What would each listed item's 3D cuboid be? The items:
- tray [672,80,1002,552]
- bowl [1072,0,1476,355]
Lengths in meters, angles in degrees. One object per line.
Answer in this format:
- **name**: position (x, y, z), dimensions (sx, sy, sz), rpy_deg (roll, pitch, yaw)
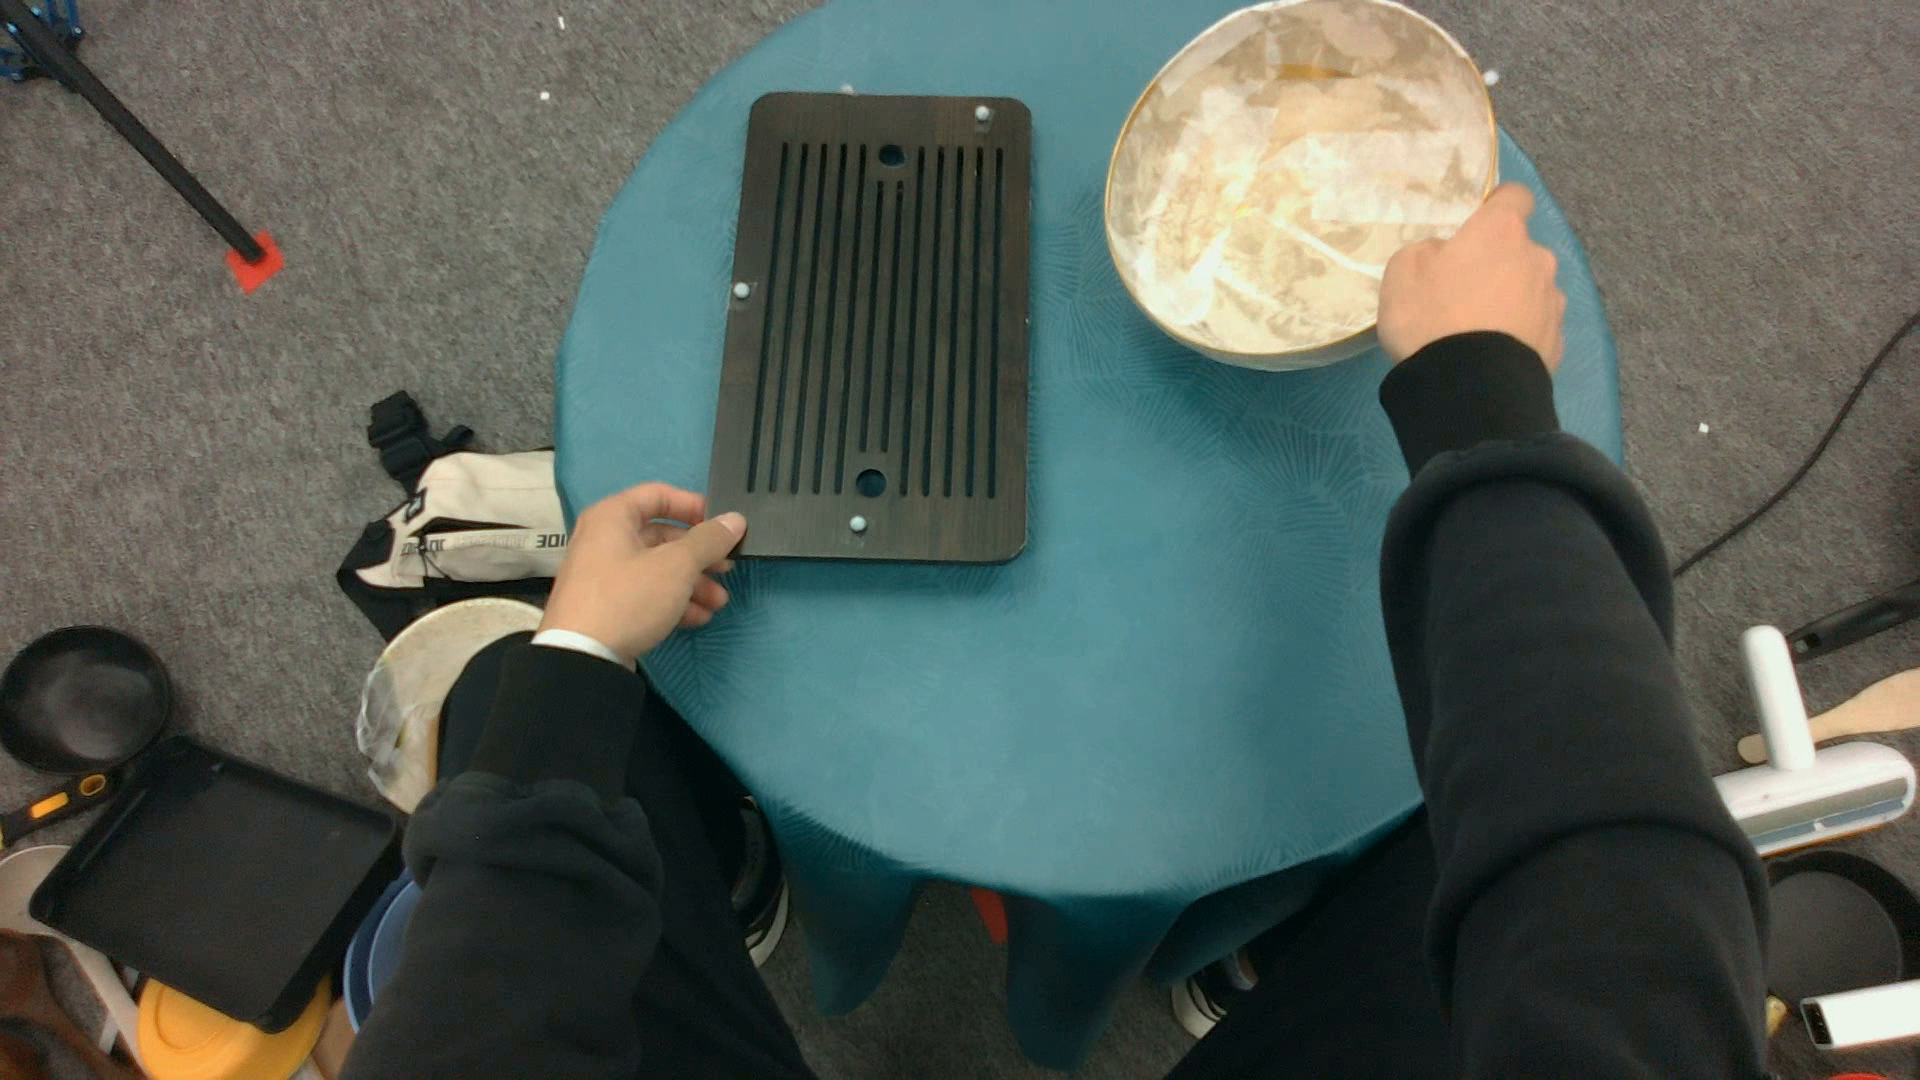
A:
- **tray**: position (-0.062, -0.134, 0.775), dimensions (0.170, 0.018, 0.307), rpy_deg (1, 66, 0)
- **bowl**: position (0.173, -0.184, 0.749), dimensions (0.214, 0.094, 0.215), rpy_deg (-7, 73, 23)
